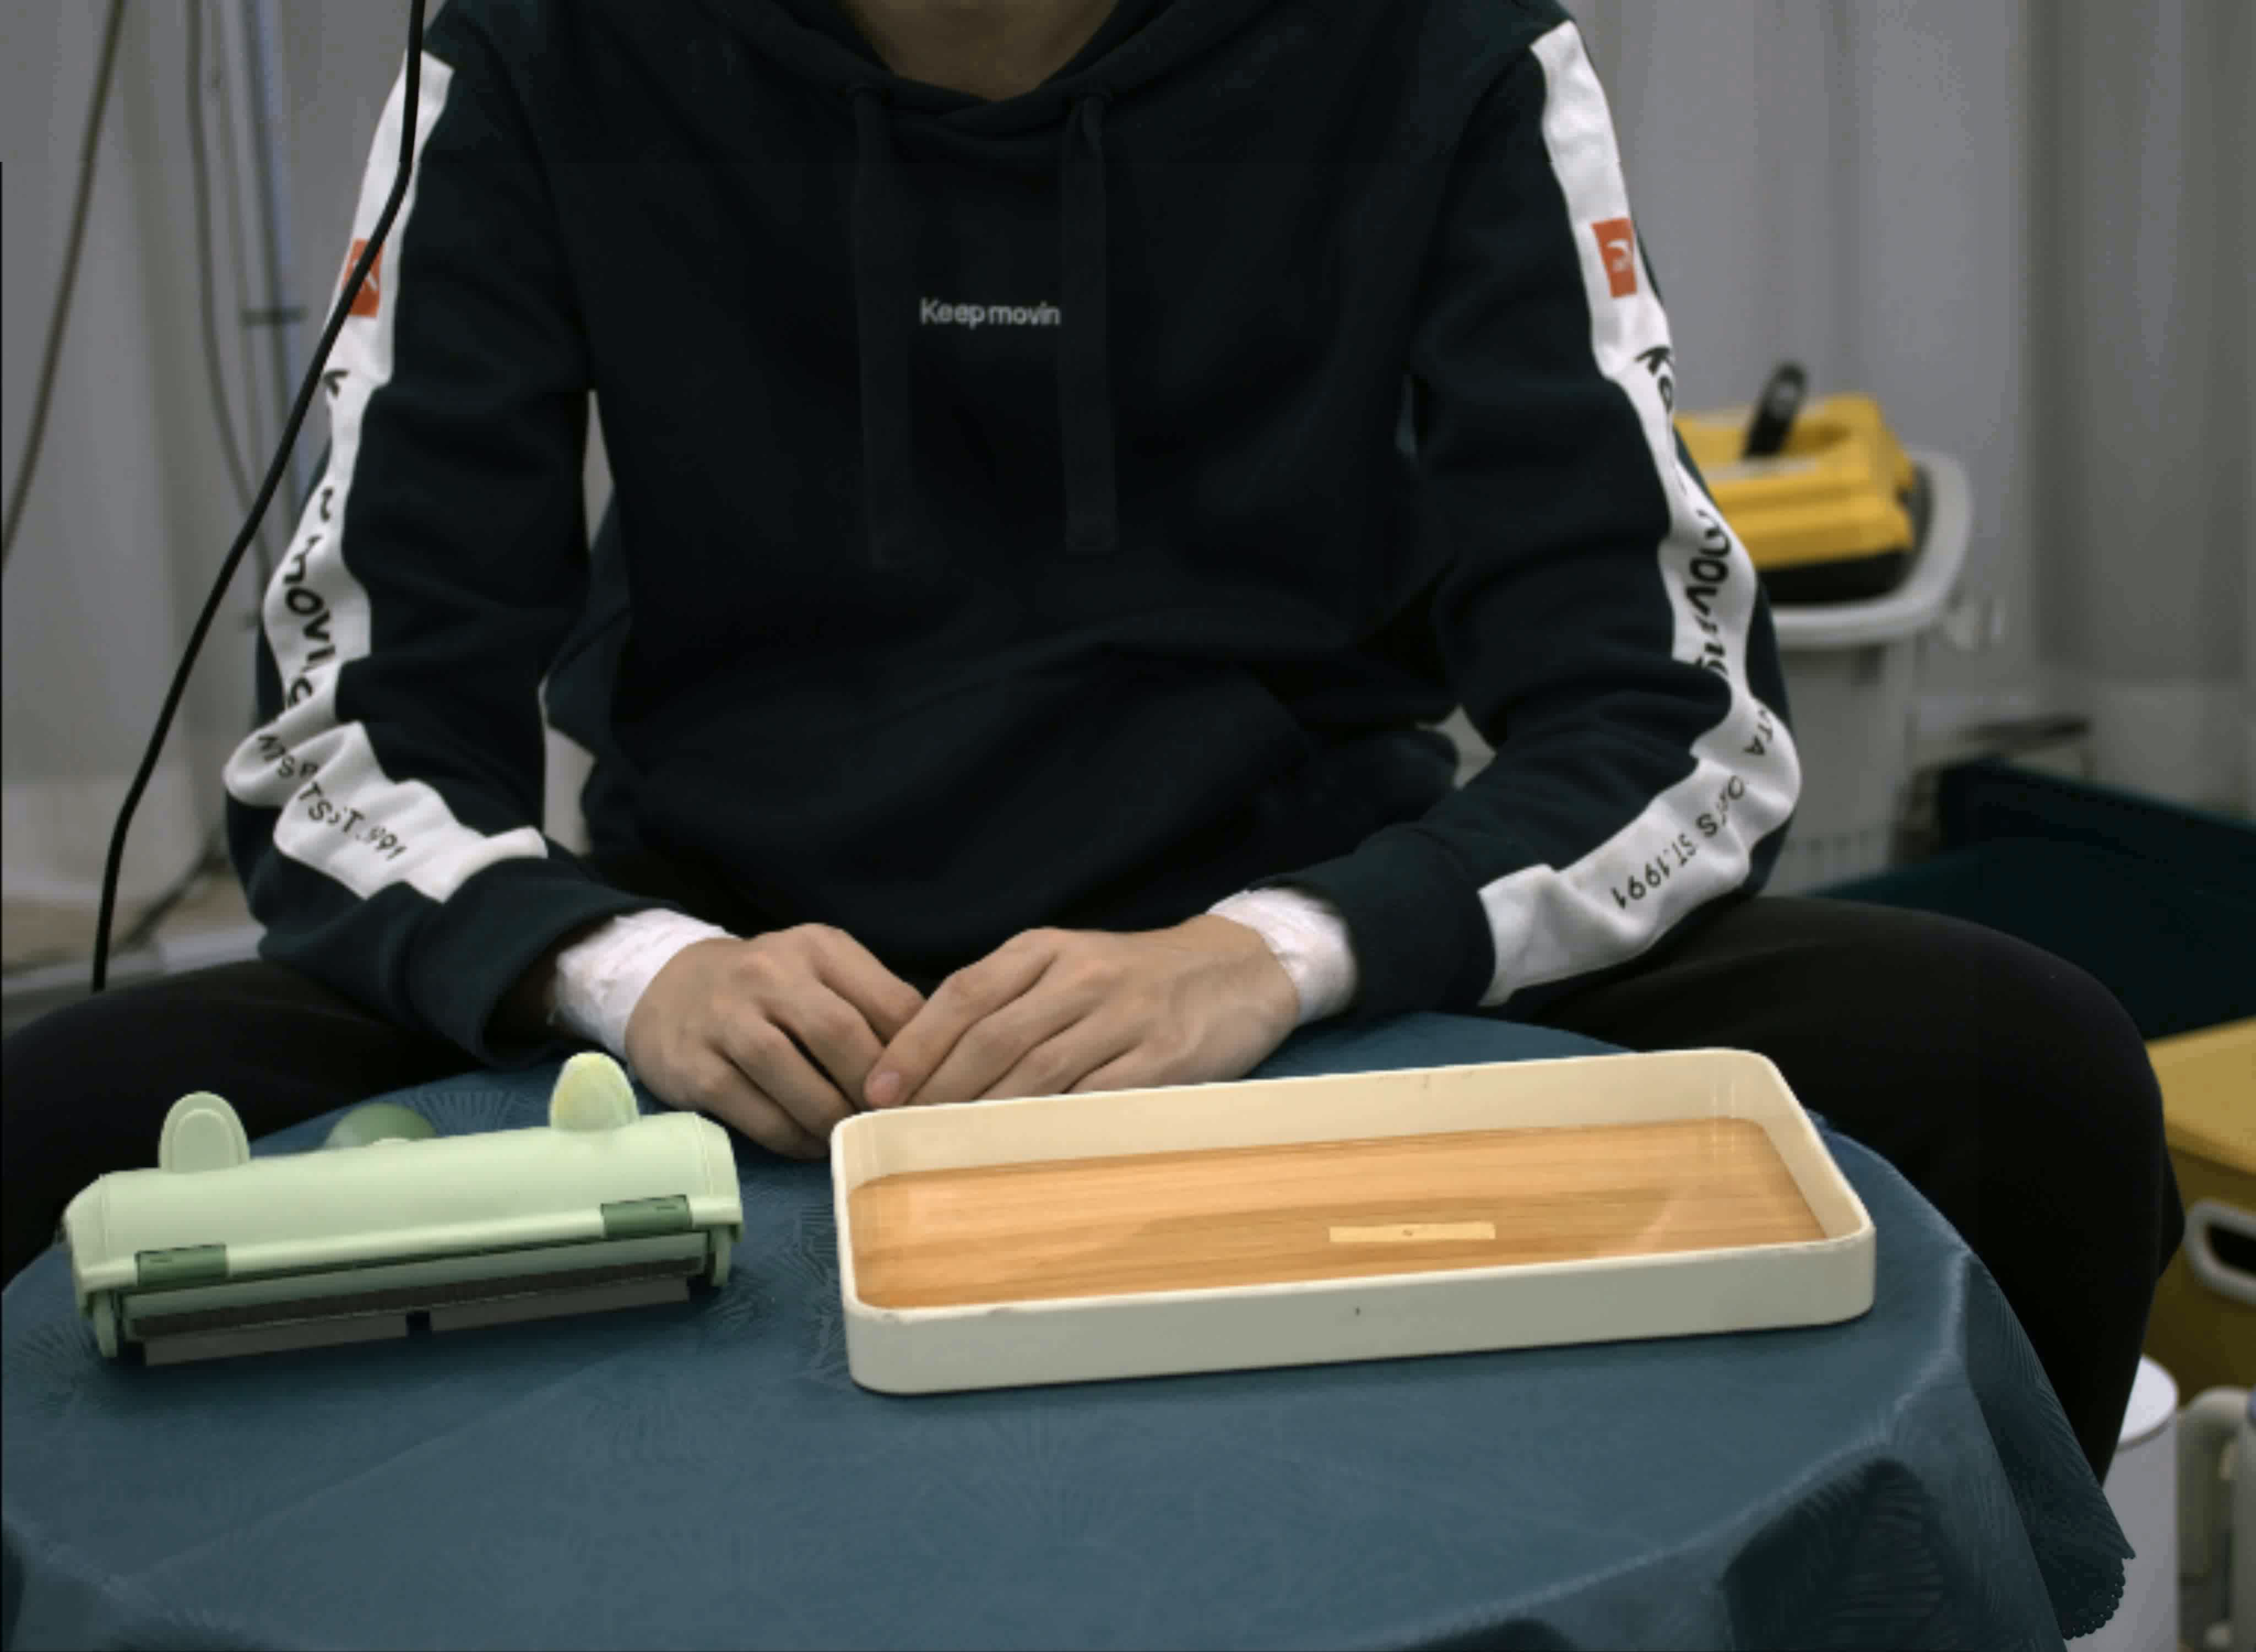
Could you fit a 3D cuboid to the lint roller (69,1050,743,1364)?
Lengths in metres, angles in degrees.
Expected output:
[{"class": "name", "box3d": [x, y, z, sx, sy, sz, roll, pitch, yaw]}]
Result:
[{"class": "lint roller", "box3d": [-0.226, 0.098, 1.676, 0.198, 0.082, 0.185, -6, 19, -10]}]

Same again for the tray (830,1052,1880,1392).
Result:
[{"class": "tray", "box3d": [0.062, 0.117, 1.642, 0.299, 0.027, 0.193, -4, 14, -3]}]
